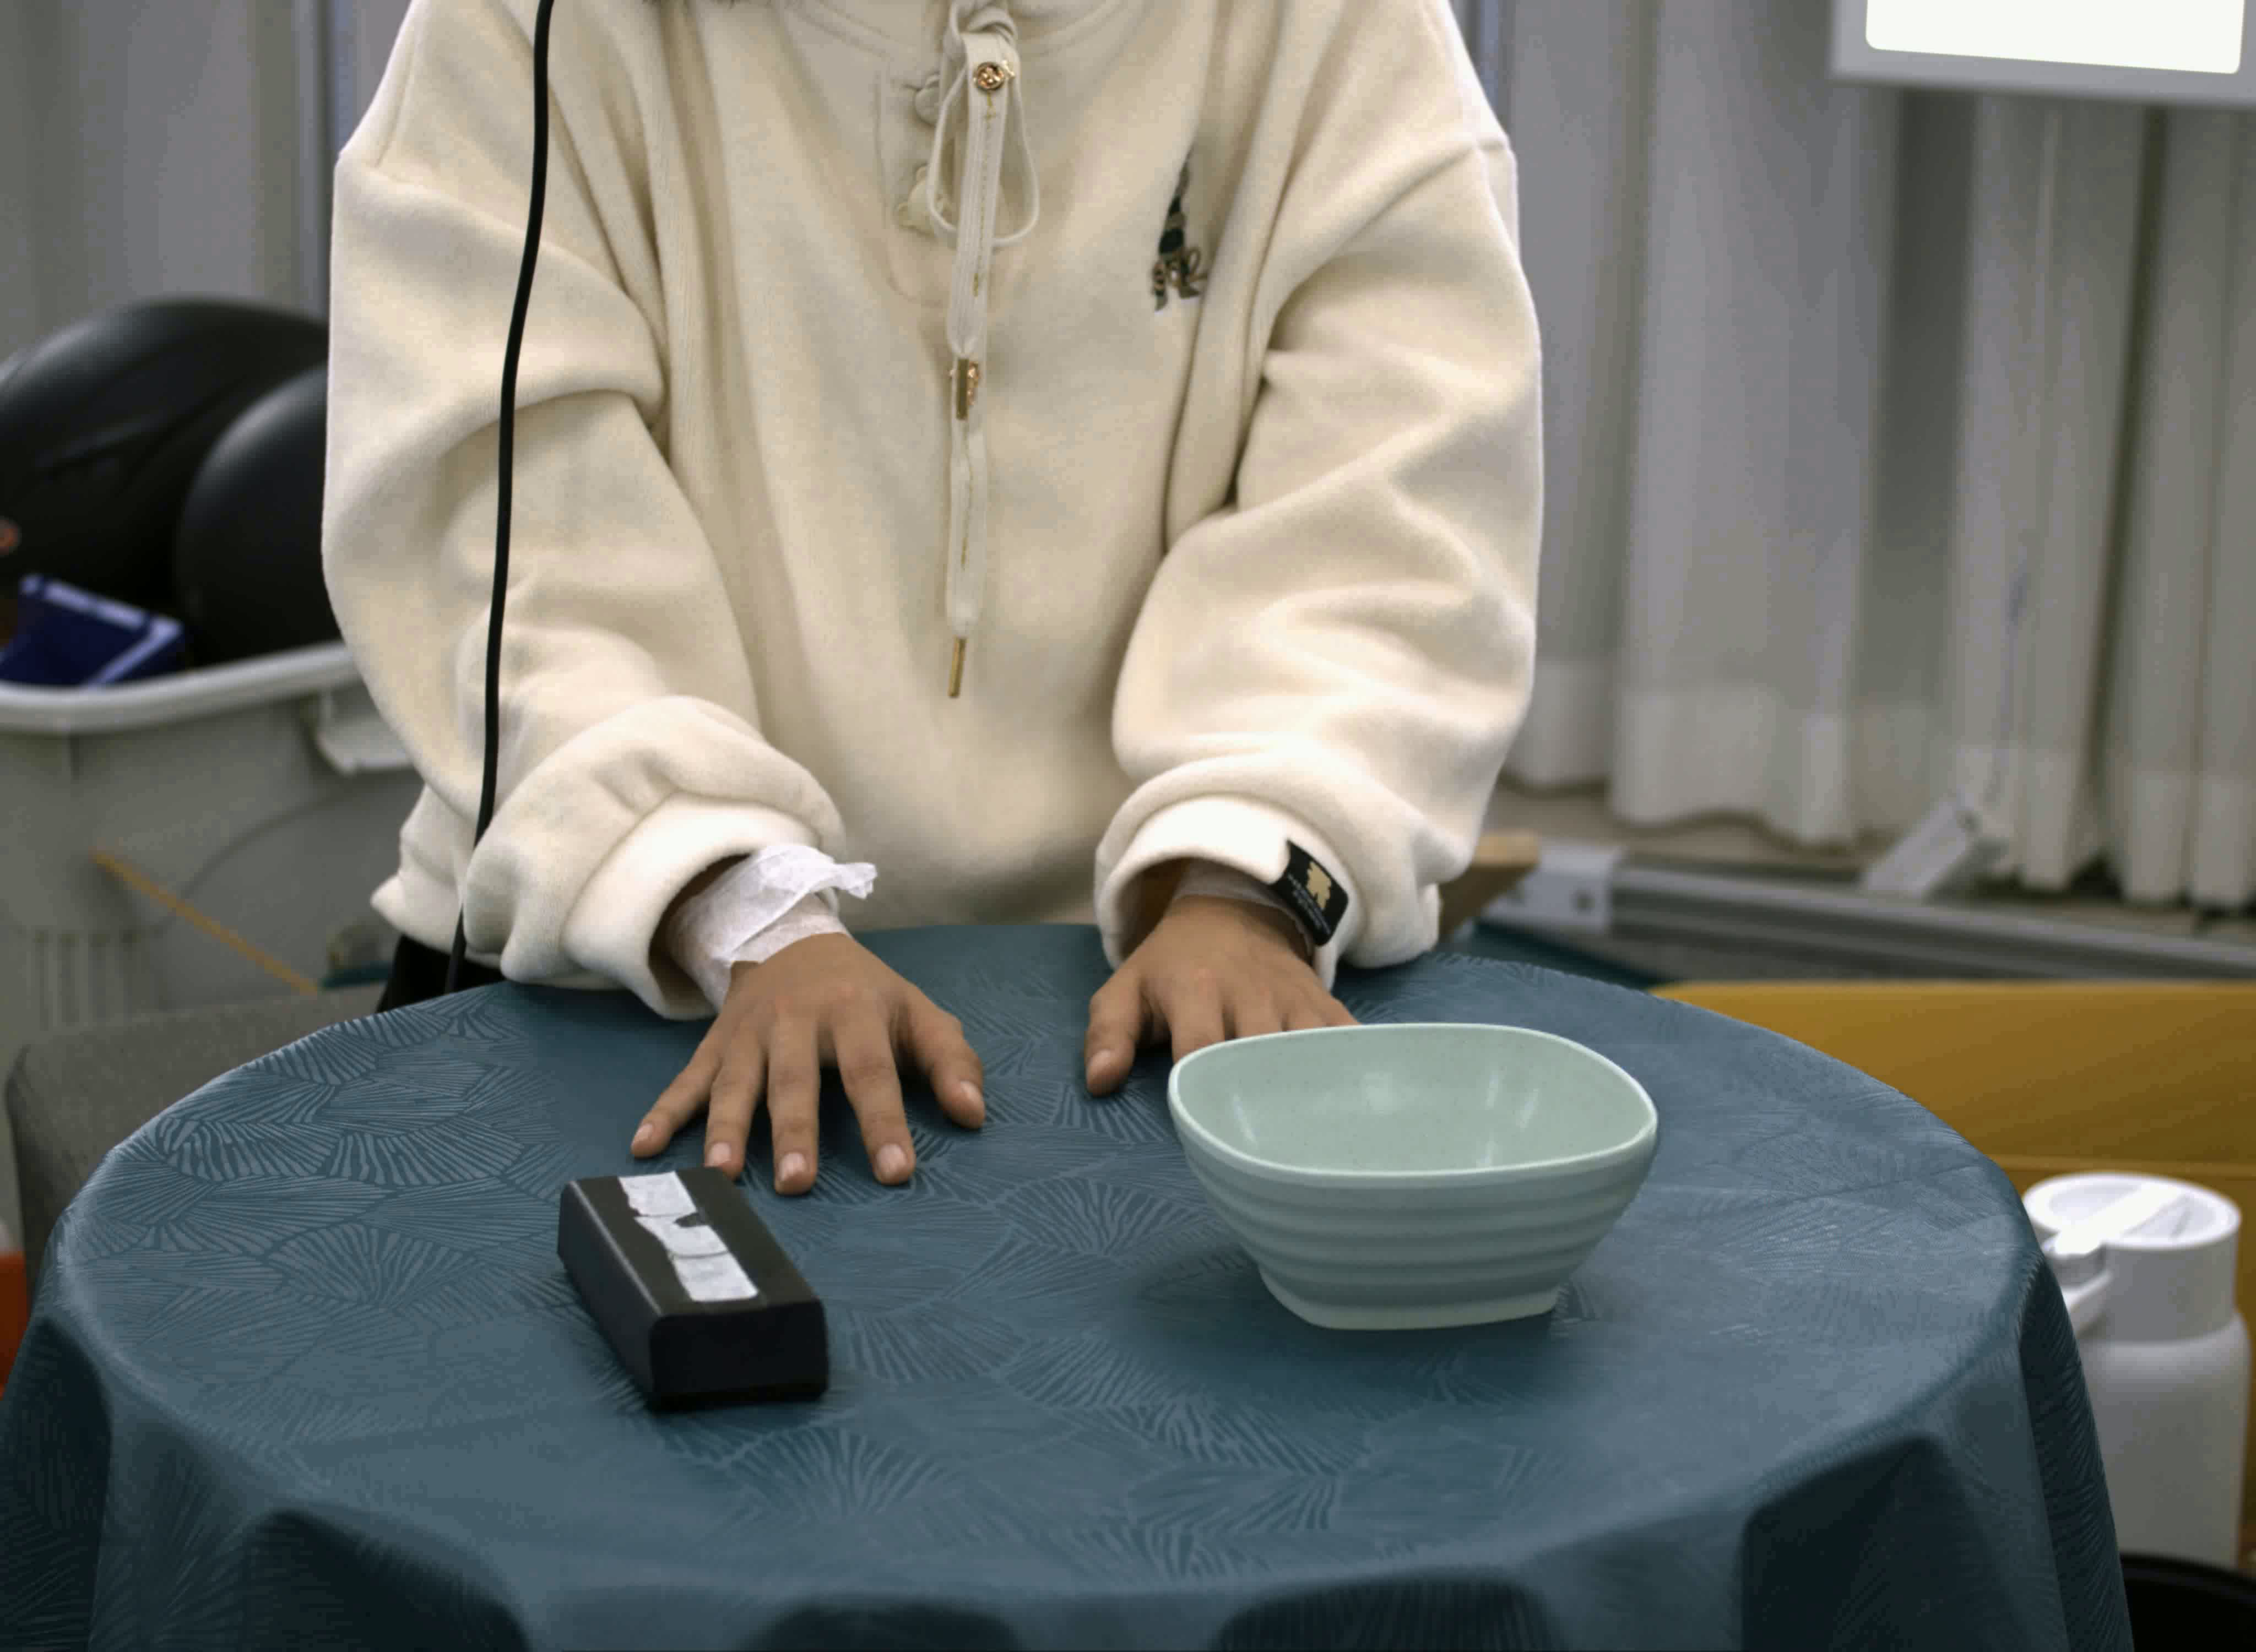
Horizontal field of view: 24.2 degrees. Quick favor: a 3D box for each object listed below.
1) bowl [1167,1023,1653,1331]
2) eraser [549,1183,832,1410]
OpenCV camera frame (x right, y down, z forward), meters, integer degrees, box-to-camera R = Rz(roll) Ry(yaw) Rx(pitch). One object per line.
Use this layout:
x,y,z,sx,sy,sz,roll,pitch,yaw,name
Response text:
0.080,0.106,1.540,0.151,0.059,0.150,3,16,0,bowl
-0.125,0.132,1.494,0.053,0.030,0.124,-4,14,-19,eraser
